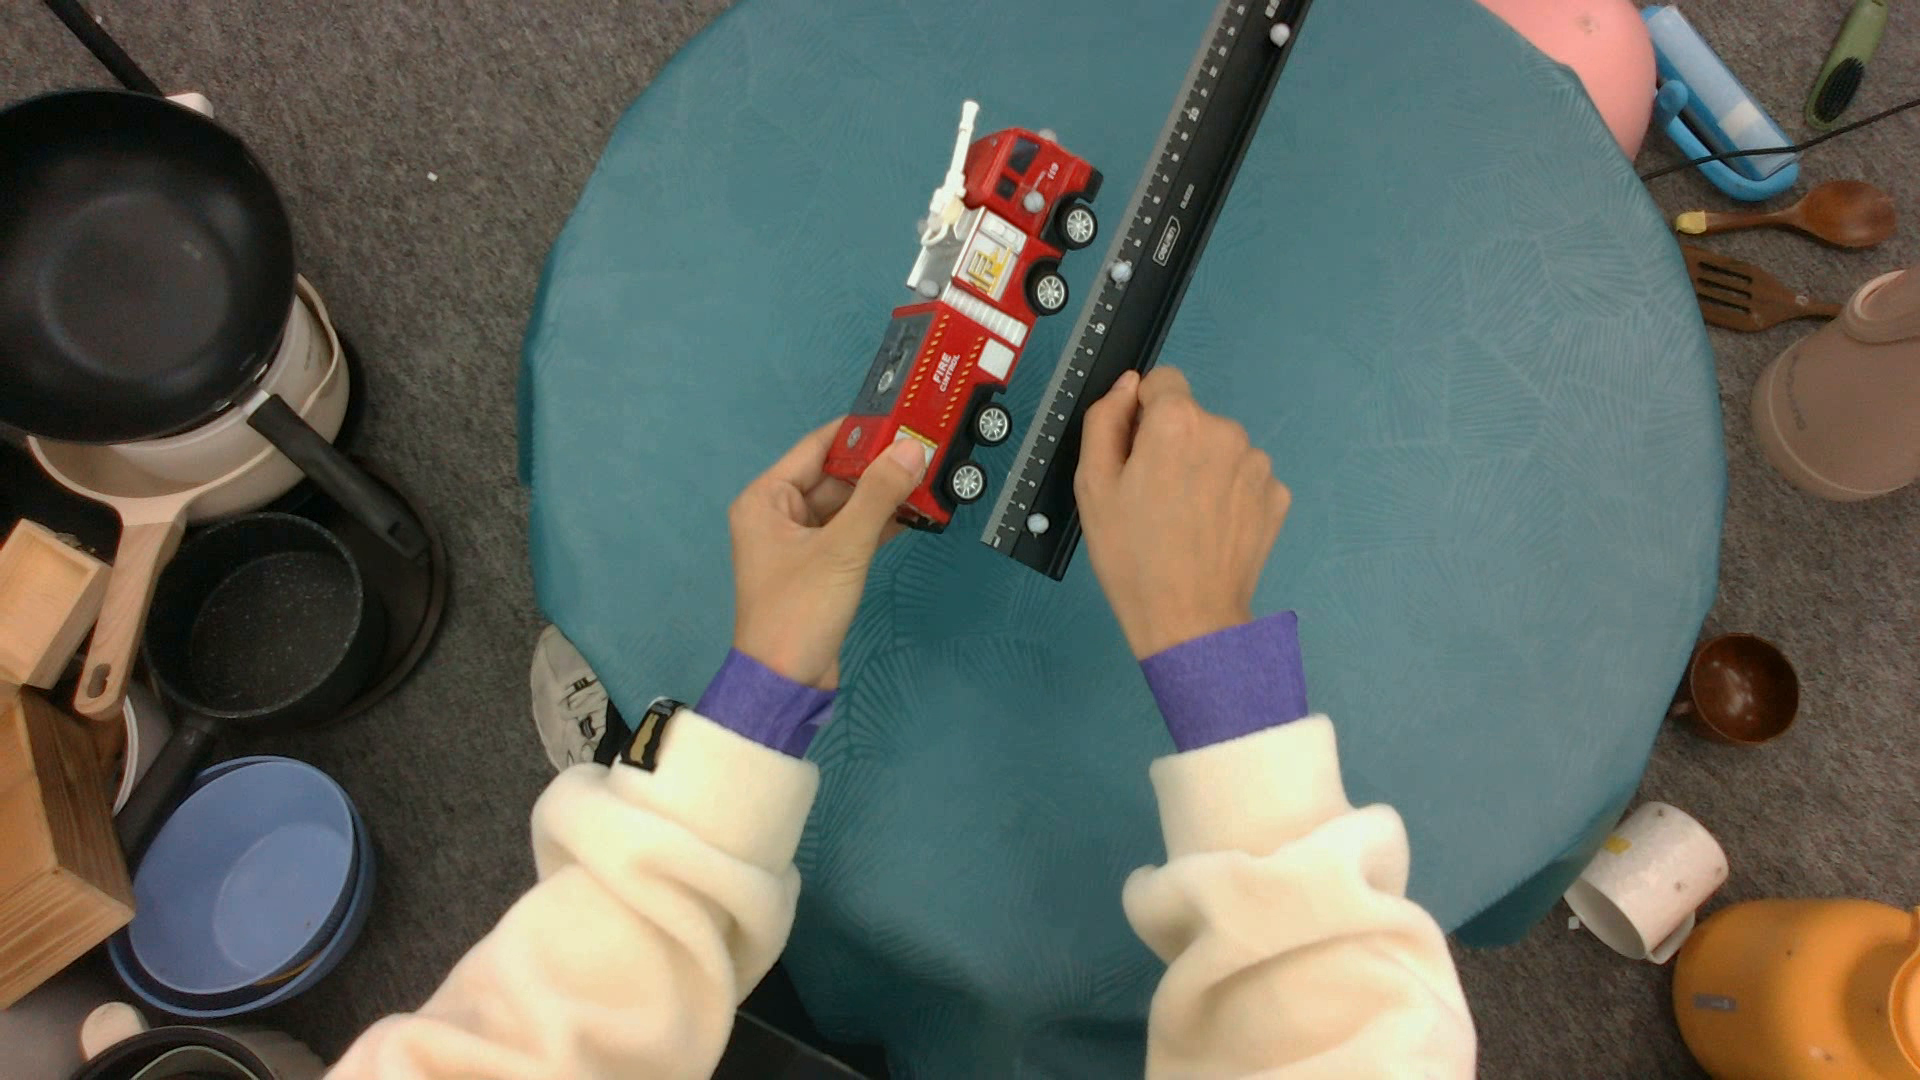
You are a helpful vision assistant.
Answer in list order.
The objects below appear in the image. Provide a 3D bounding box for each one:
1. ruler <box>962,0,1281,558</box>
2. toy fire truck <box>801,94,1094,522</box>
[{"bbox_3d":[0.080,-0.140,0.566,0.039,0.017,0.313,27,80,-19],"label":"ruler"},{"bbox_3d":[-0.005,-0.092,0.564,0.070,0.054,0.168,25,83,-28],"label":"toy fire truck"}]
